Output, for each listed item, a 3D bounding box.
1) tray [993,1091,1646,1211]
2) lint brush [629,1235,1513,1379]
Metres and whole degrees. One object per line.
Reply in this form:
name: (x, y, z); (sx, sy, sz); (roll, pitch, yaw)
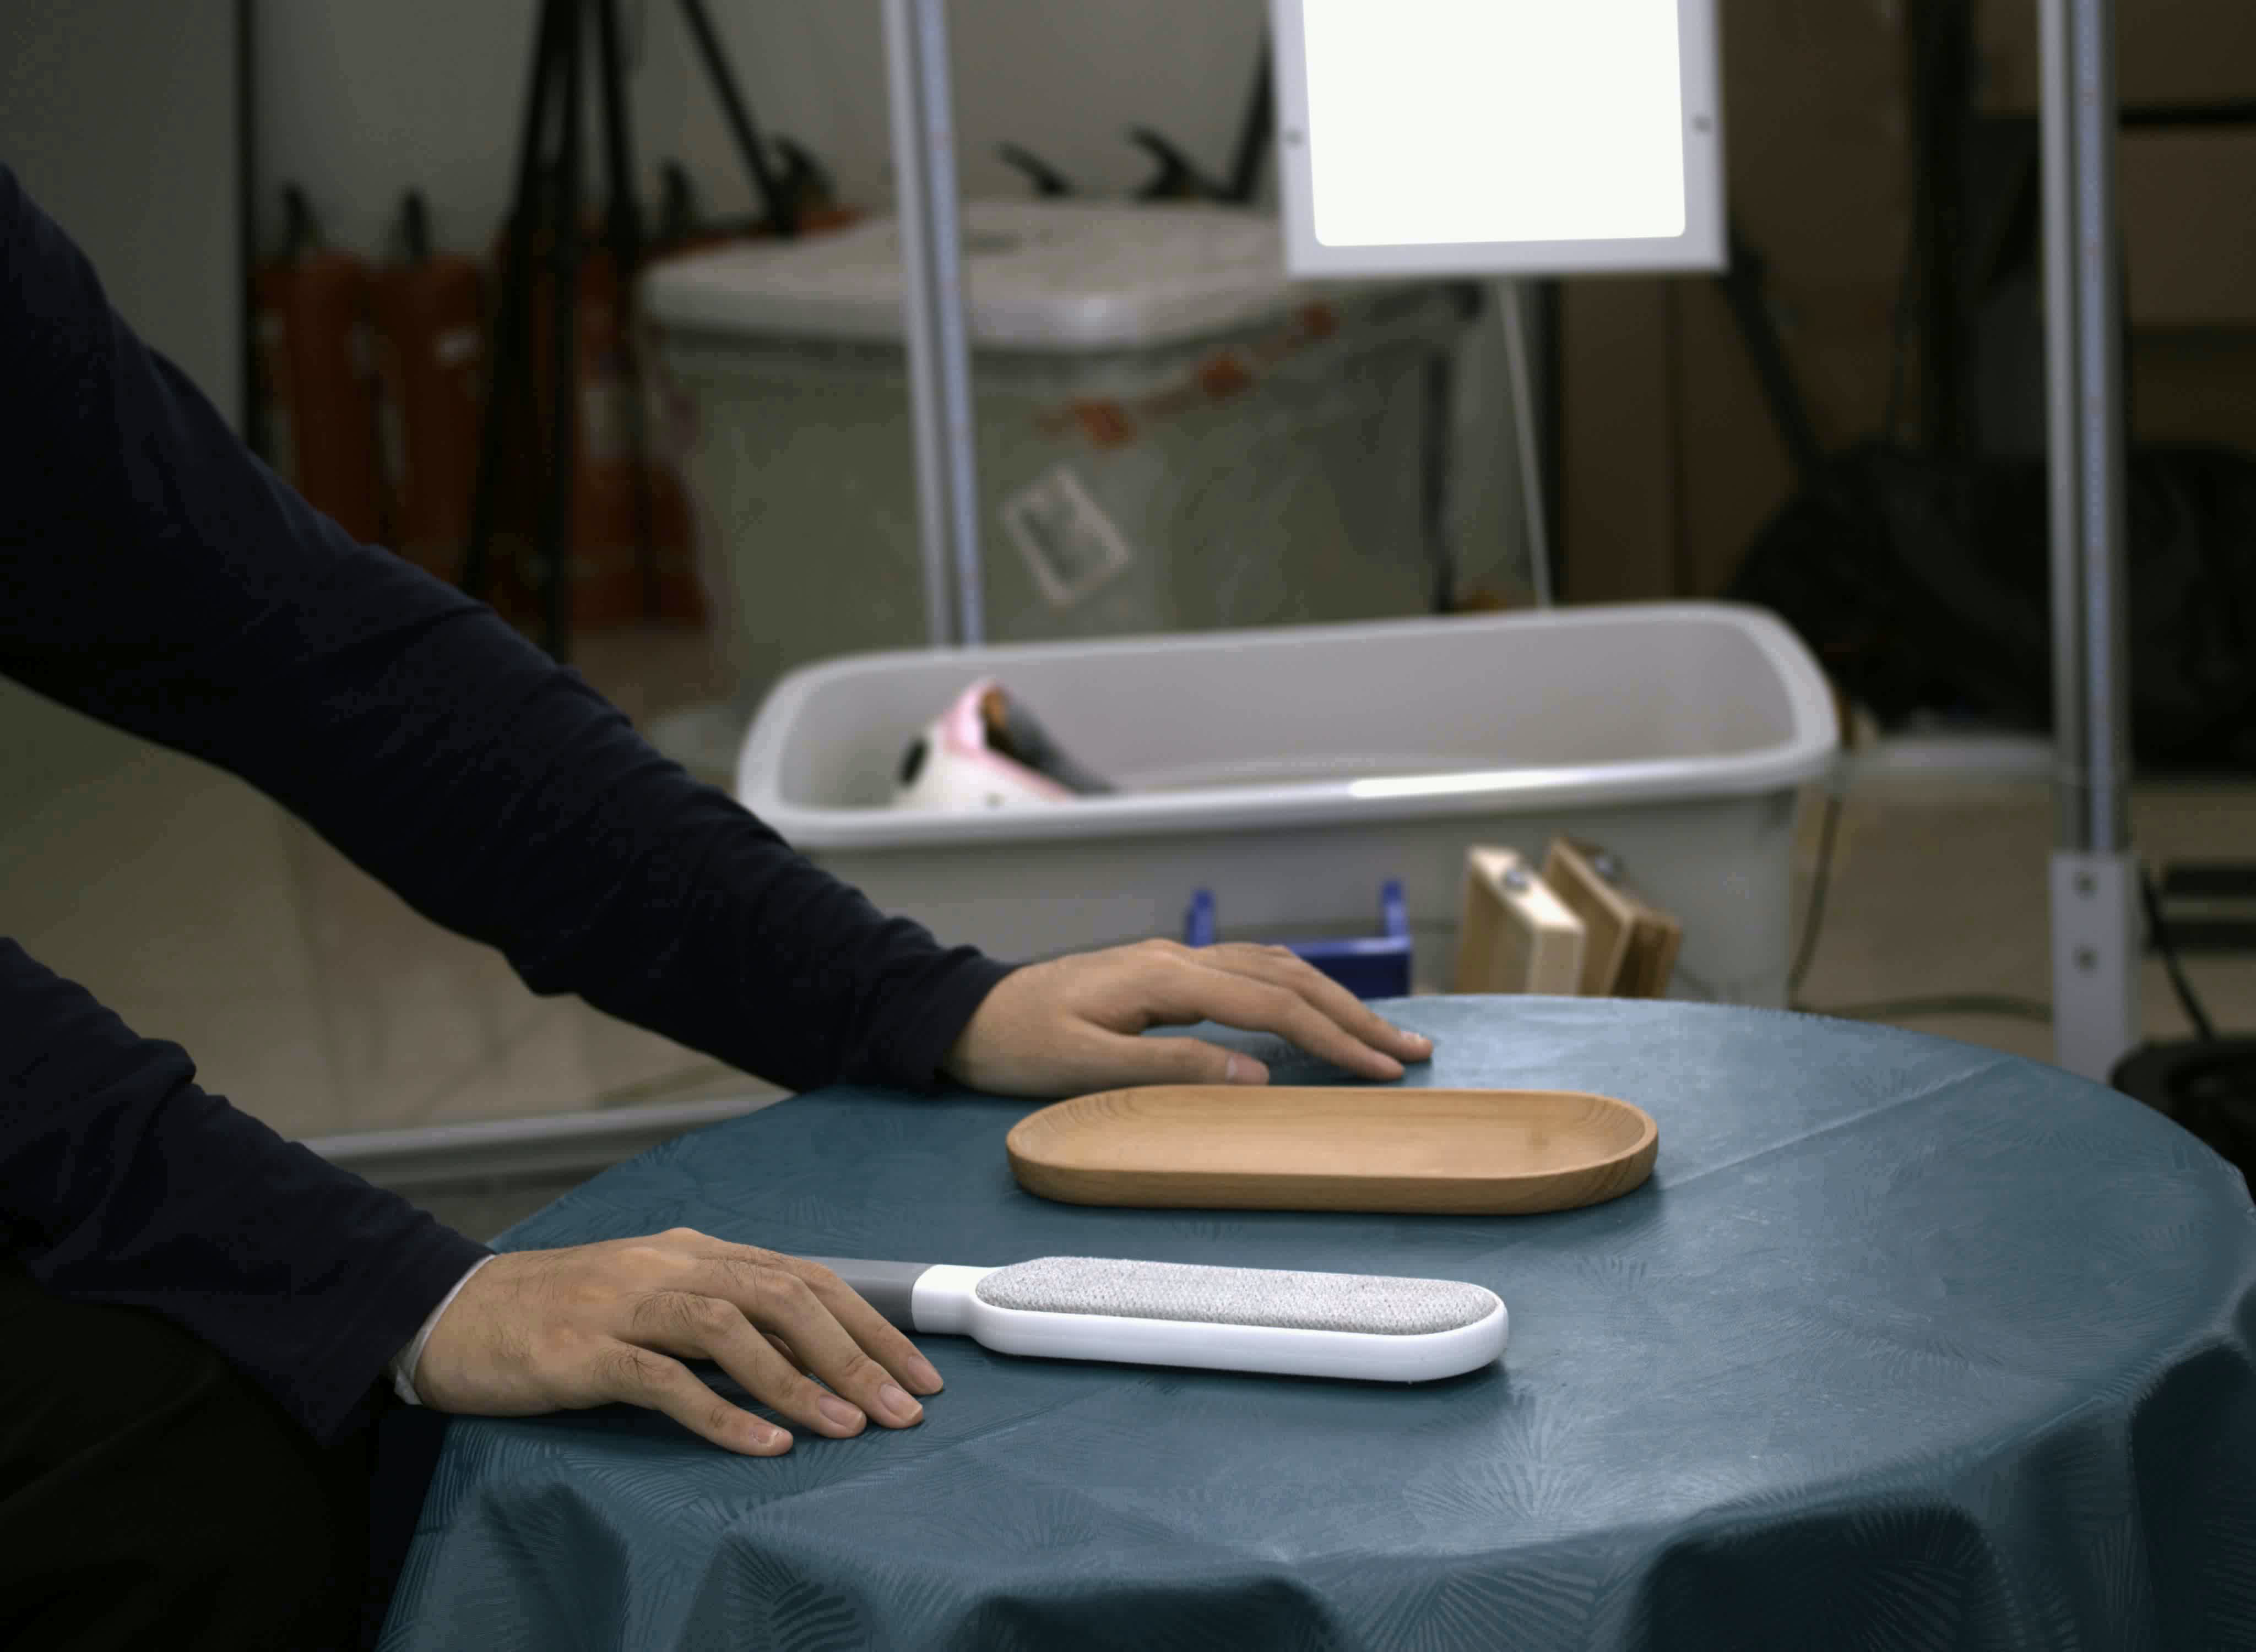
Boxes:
tray: (0.066, 0.113, 1.904); (0.234, 0.020, 0.100); (-2, 12, 20)
lint brush: (-0.024, 0.150, 1.759); (0.314, 0.021, 0.059); (2, 20, 27)
